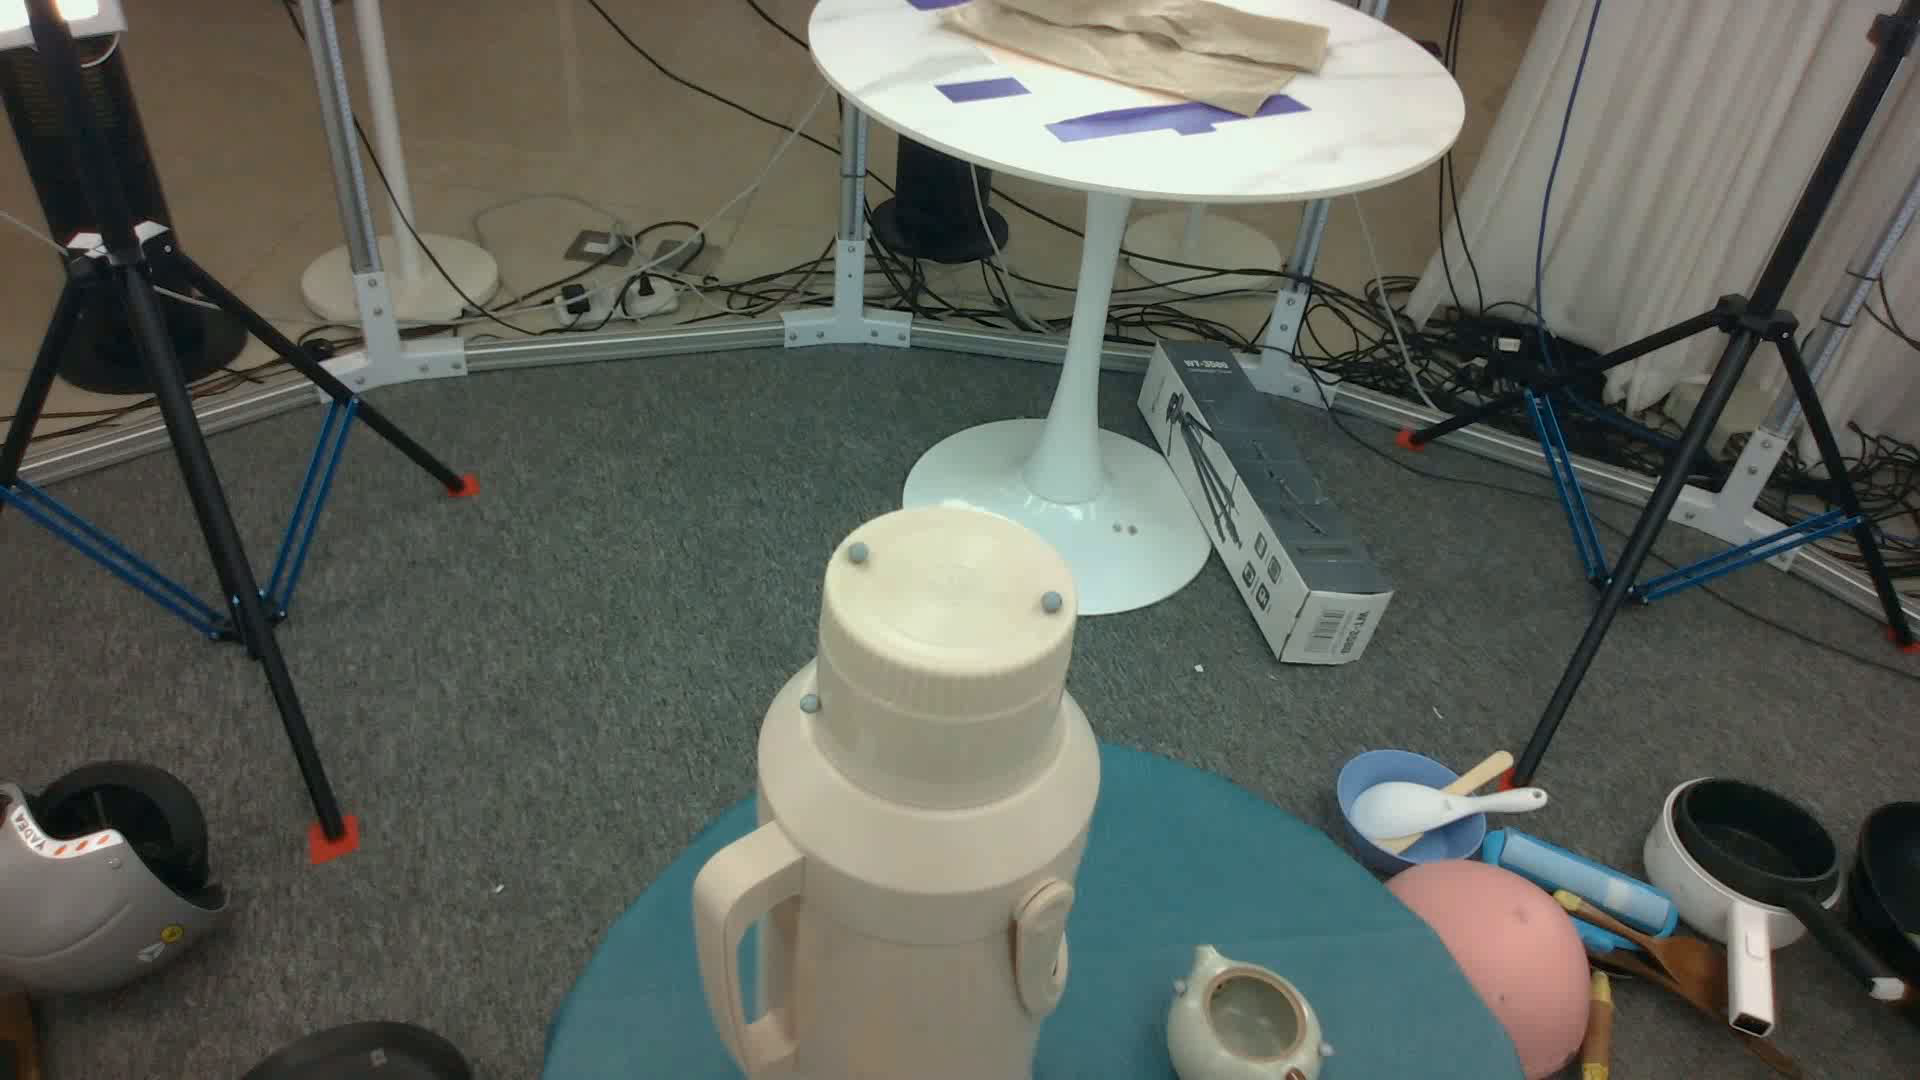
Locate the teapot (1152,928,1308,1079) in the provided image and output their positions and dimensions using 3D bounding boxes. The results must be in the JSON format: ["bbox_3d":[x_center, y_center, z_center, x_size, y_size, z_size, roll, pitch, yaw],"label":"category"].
[{"bbox_3d":[0.166,0.295,0.821,0.092,0.059,0.128,-14,42,-28],"label":"teapot"}]

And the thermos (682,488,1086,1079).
[{"bbox_3d":[-0.042,0.167,0.679,0.208,0.404,0.175,-26,51,-34],"label":"thermos"}]
